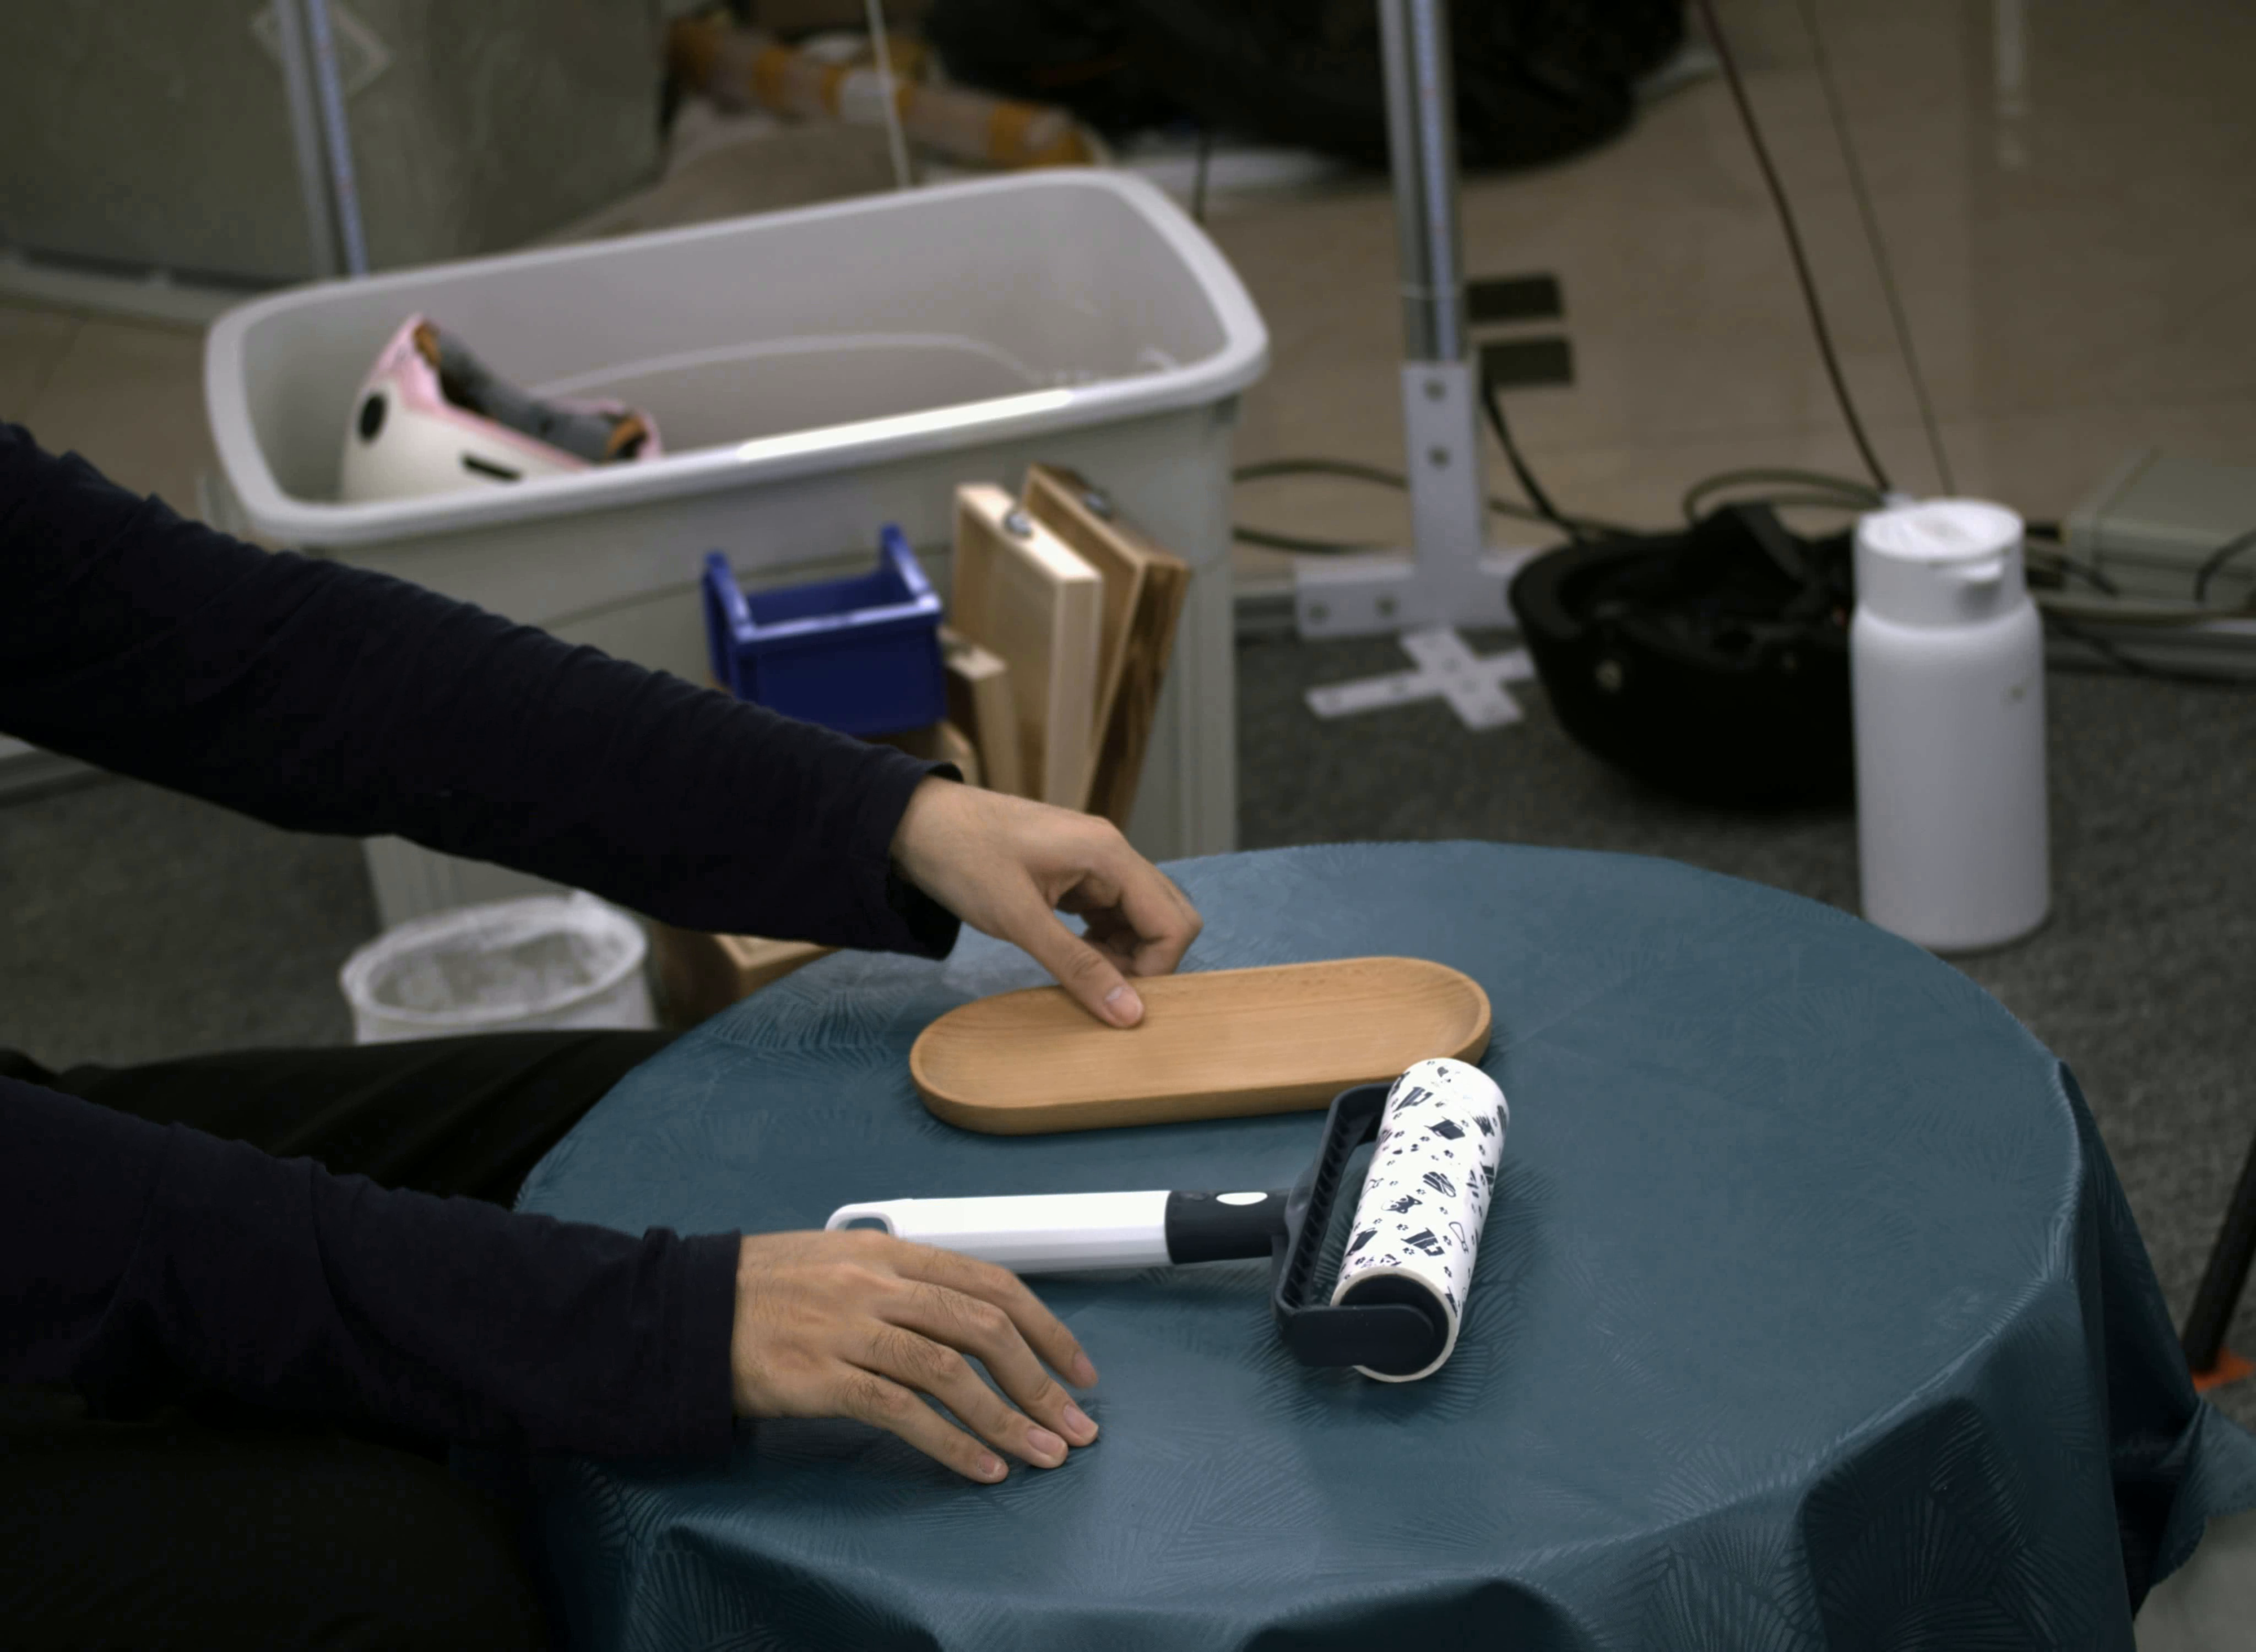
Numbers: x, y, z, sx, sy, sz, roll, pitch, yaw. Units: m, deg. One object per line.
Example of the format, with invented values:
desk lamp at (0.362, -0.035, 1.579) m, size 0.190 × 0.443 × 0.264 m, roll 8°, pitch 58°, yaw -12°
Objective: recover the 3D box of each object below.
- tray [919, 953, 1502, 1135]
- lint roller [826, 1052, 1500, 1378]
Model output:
tray at (0.033, 0.087, 2.237) m, size 0.231 × 0.020 × 0.100 m, roll -4°, pitch 28°, yaw 2°
lint roller at (0.007, 0.148, 2.082) m, size 0.247 × 0.051 × 0.173 m, roll -5°, pitch 25°, yaw 12°
